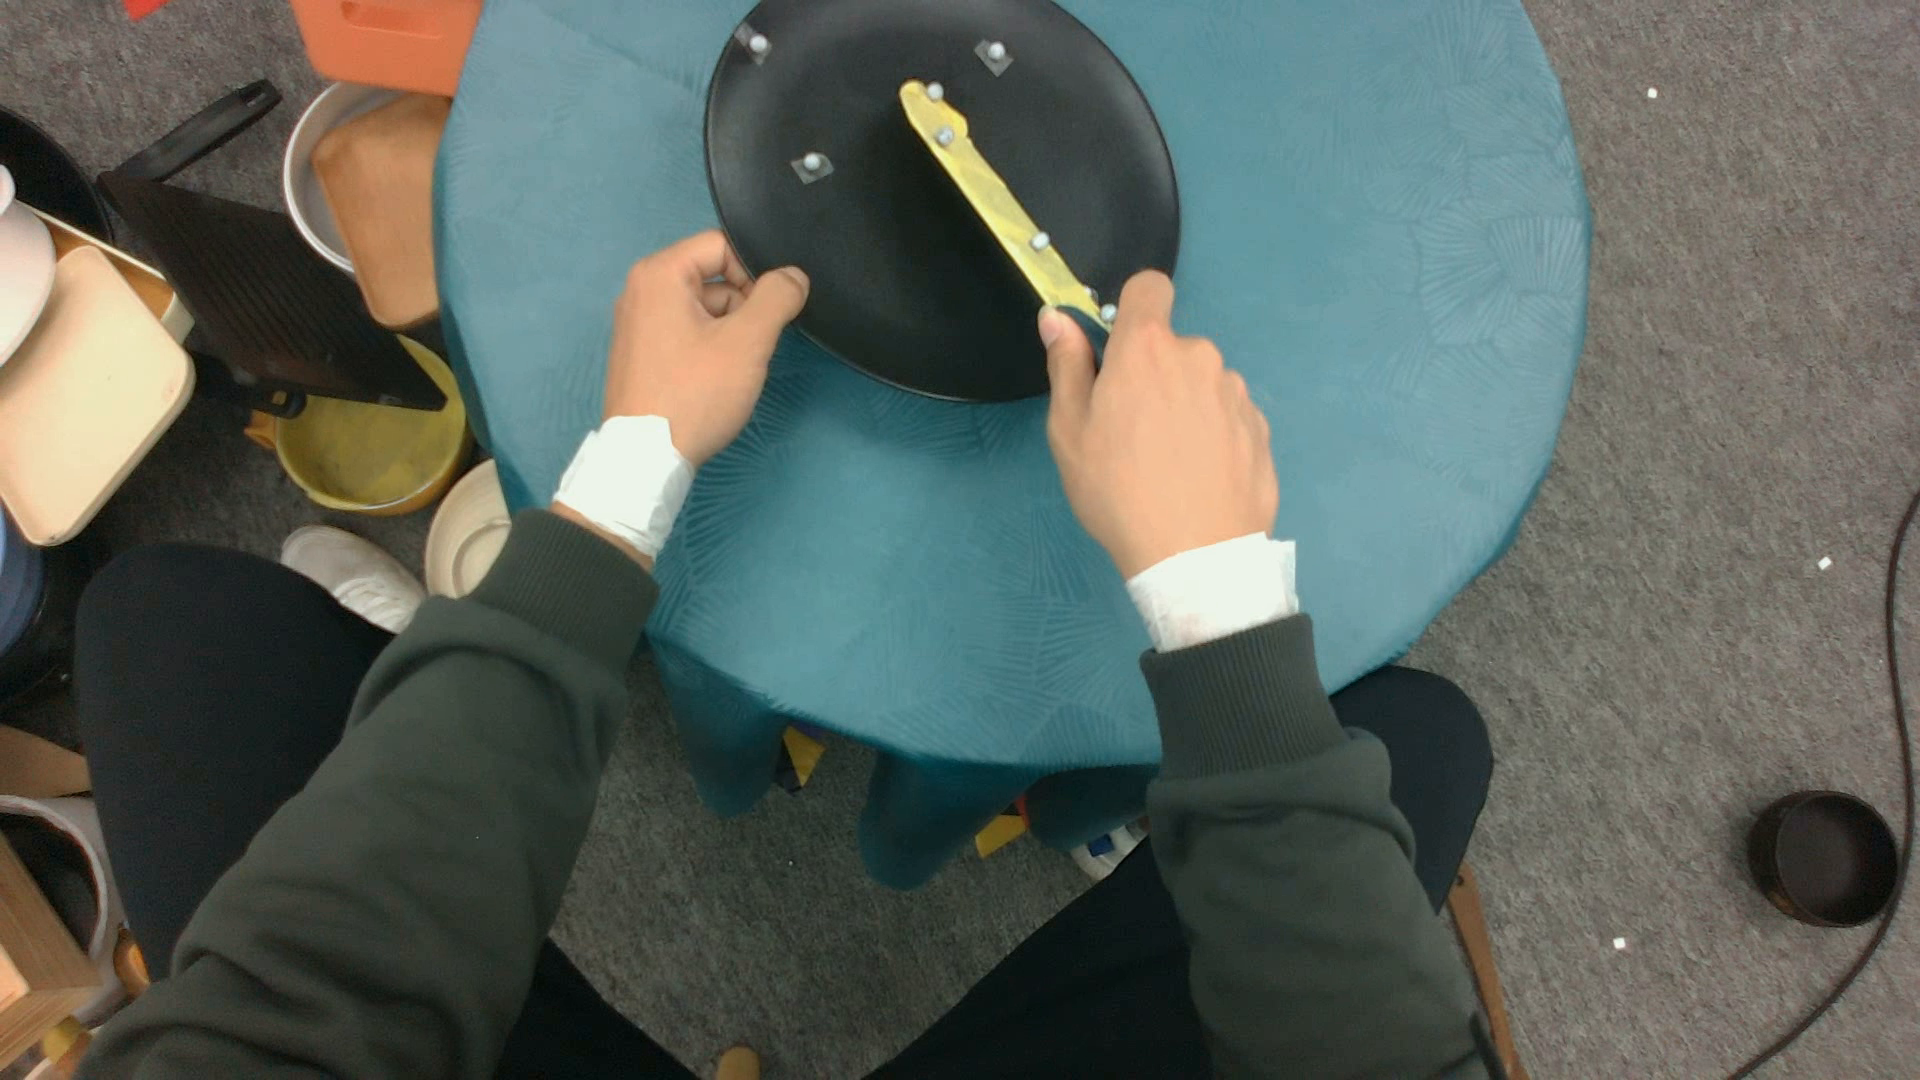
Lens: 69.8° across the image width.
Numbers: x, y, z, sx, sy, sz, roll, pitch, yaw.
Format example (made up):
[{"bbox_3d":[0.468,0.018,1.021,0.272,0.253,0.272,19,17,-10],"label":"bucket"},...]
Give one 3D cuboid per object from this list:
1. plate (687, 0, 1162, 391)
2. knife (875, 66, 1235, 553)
[{"bbox_3d":[-0.014,-0.184,0.682,0.245,0.023,0.245,6,71,-18],"label":"plate"},{"bbox_3d":[0.040,-0.114,0.633,0.027,0.081,0.290,-40,72,24],"label":"knife"}]
